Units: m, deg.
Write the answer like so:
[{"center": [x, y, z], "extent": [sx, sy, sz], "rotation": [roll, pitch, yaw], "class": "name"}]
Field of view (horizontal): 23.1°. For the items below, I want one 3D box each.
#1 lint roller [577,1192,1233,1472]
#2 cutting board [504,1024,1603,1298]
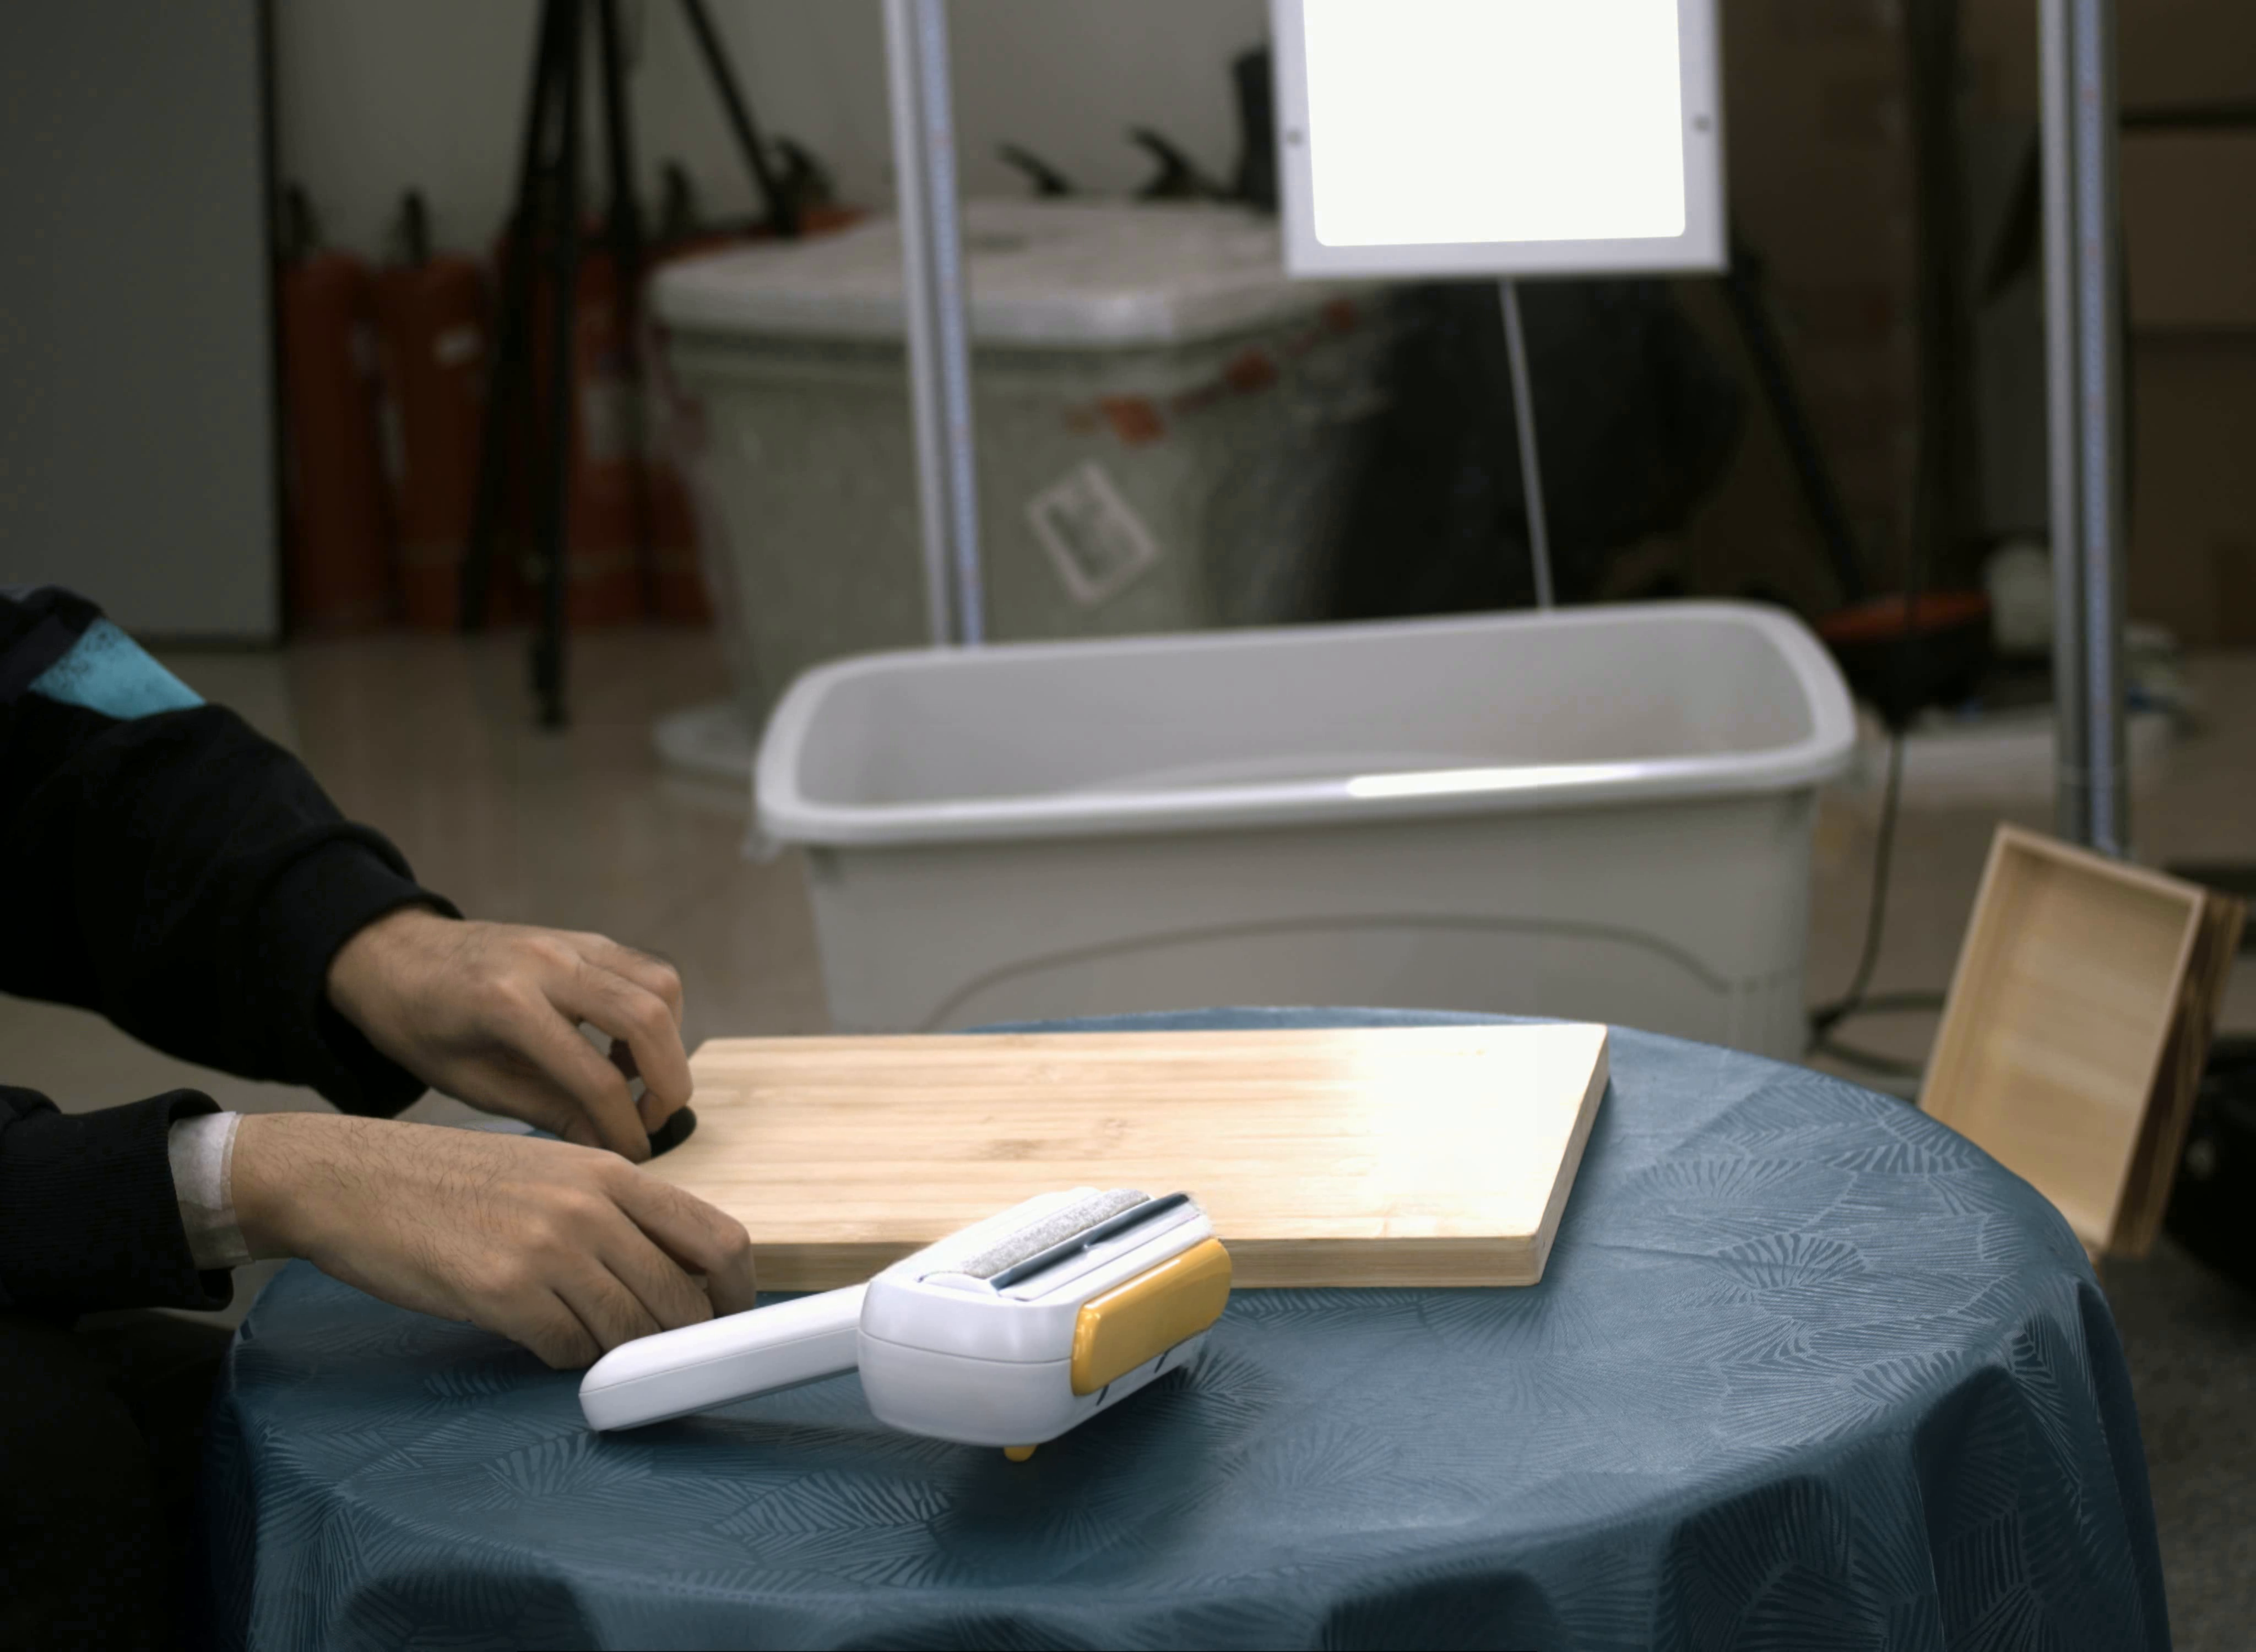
[{"center": [-0.080, 0.154, 1.671], "extent": [0.195, 0.074, 0.189], "rotation": [-1, 9, 23], "class": "lint roller"}, {"center": [-0.018, 0.115, 1.915], "extent": [0.351, 0.023, 0.248], "rotation": [-2, 14, 13], "class": "cutting board"}]
